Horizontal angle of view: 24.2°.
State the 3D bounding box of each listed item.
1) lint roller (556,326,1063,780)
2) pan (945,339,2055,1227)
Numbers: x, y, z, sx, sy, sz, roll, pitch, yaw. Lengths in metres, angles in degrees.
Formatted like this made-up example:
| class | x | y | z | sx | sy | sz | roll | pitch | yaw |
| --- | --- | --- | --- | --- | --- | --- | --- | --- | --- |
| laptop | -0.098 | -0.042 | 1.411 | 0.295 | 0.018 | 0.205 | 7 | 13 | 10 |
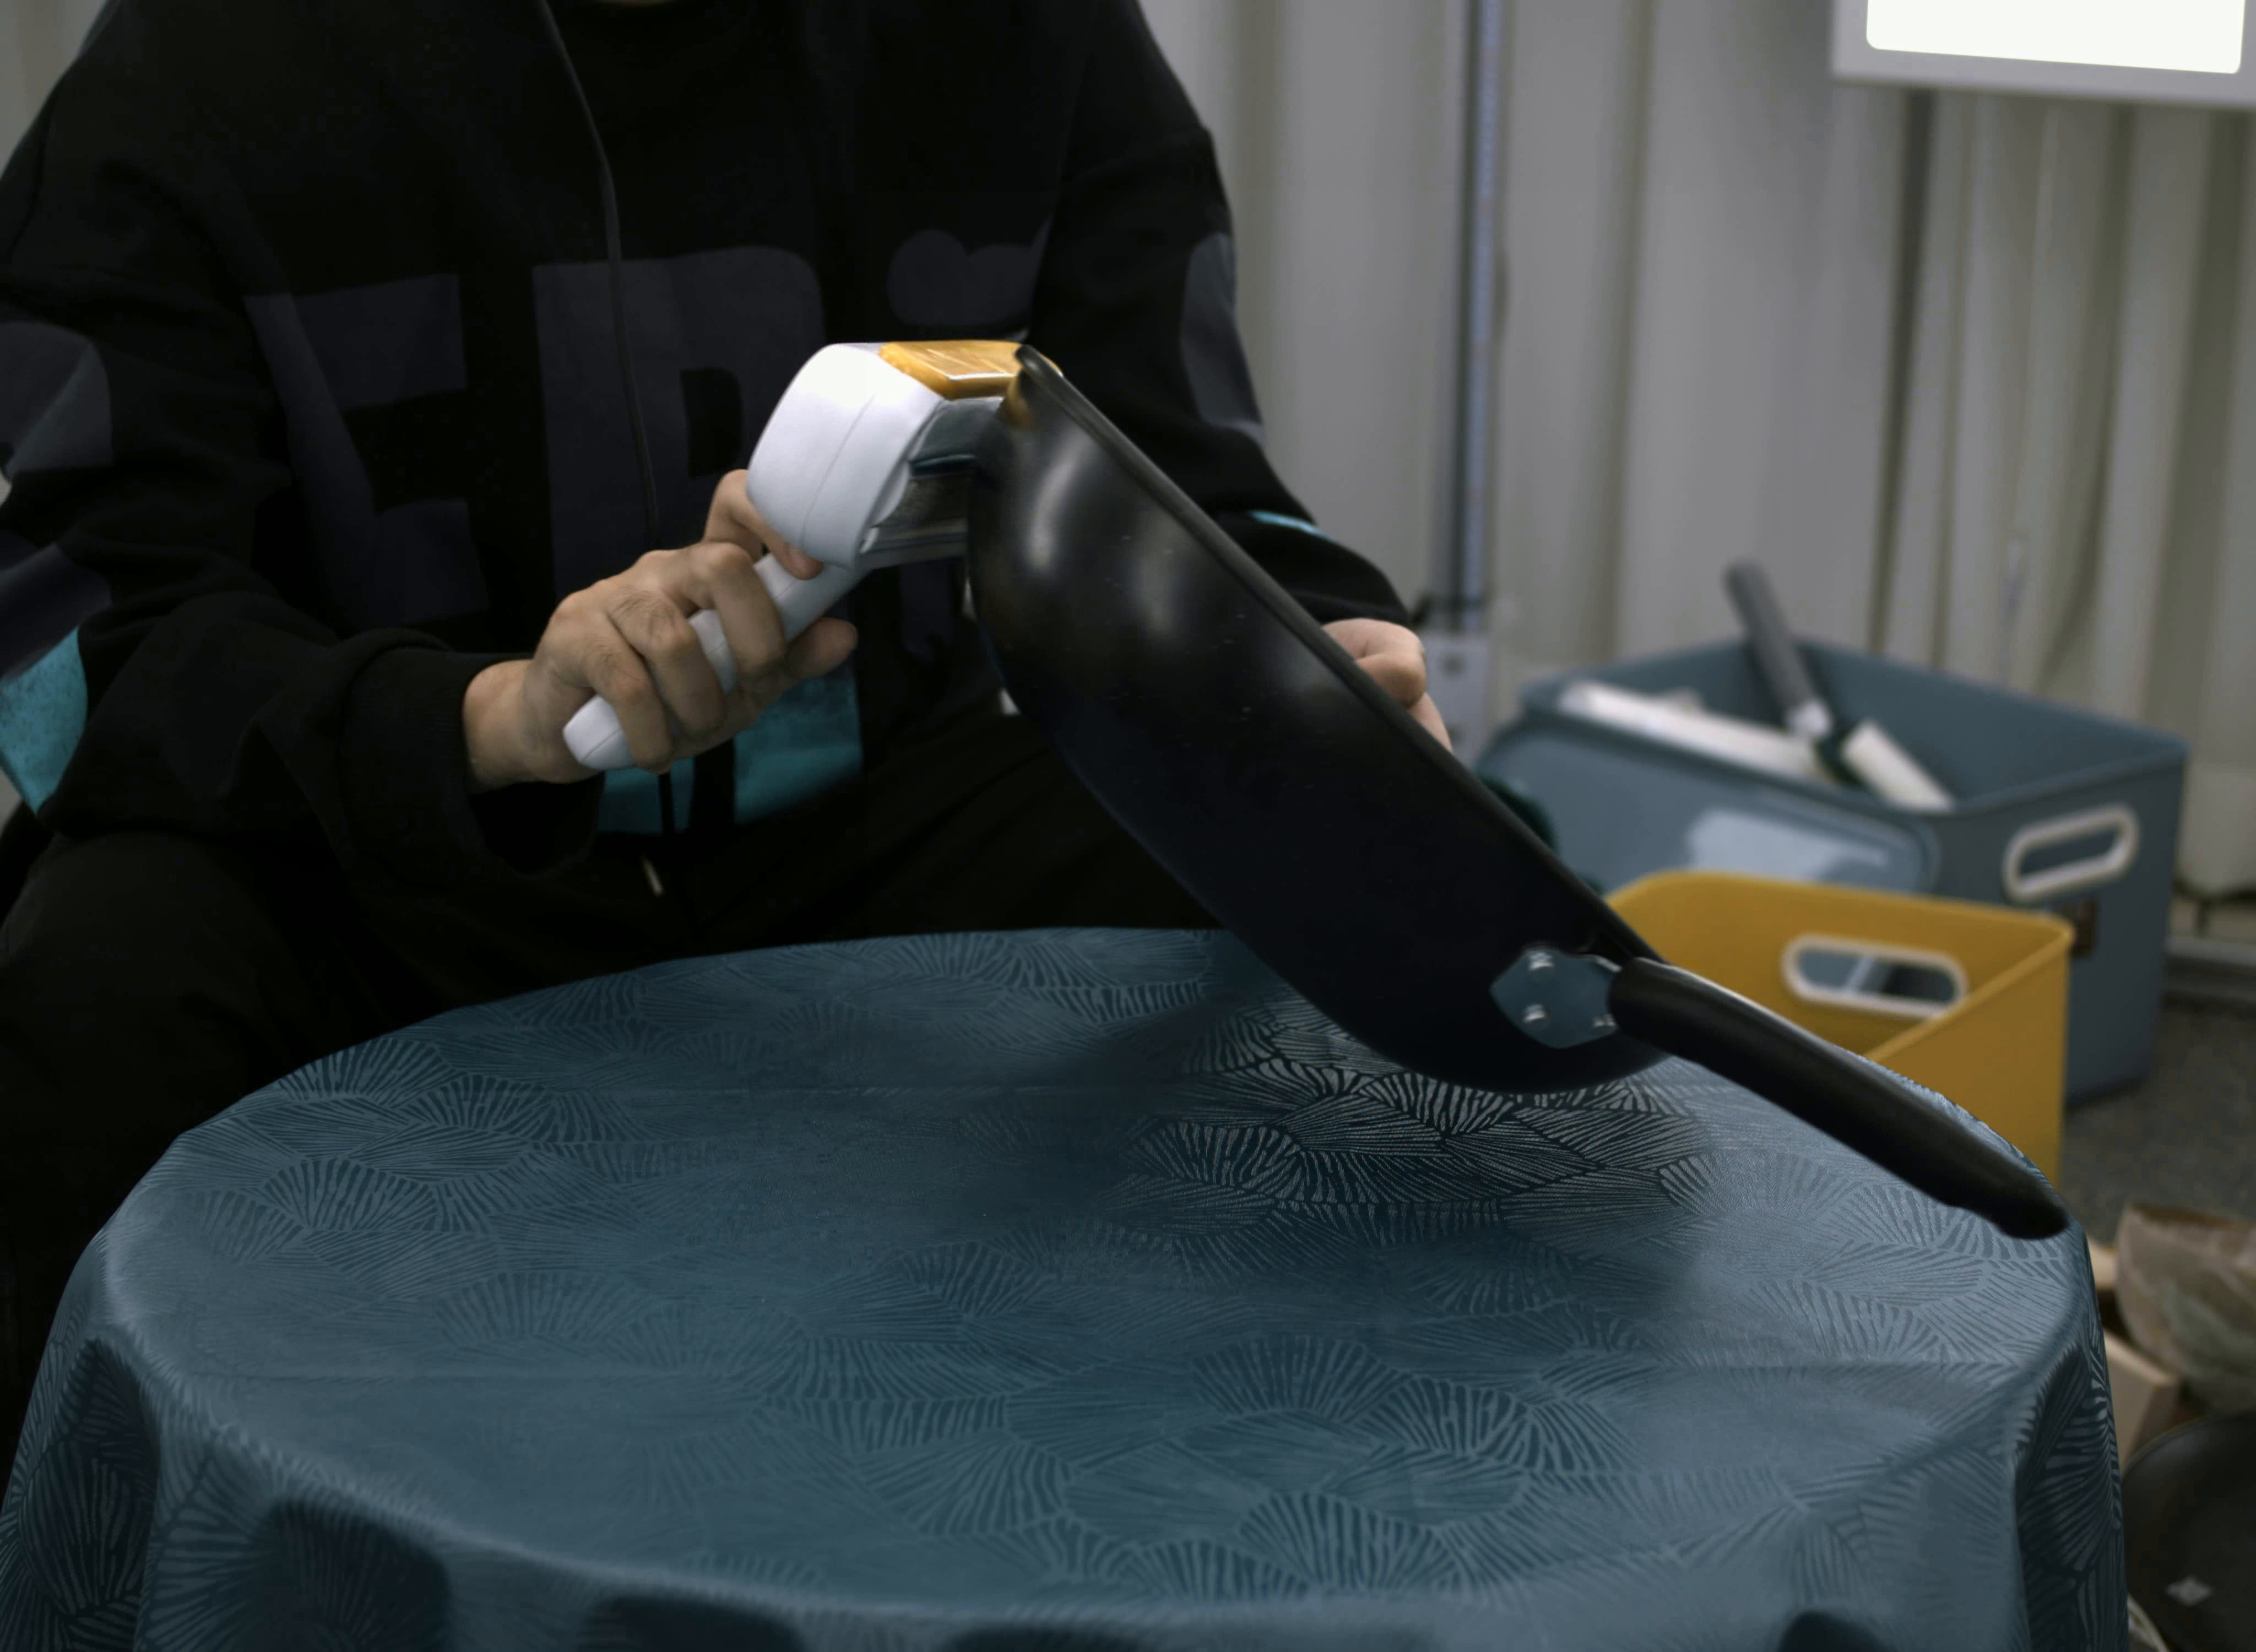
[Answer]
| class | x | y | z | sx | sy | sz | roll | pitch | yaw |
| --- | --- | --- | --- | --- | --- | --- | --- | --- | --- |
| lint roller | -0.109 | -0.081 | 1.708 | 0.074 | 0.193 | 0.193 | 38 | 10 | 4 |
| pan | 0.095 | 0.018 | 1.590 | 0.314 | 0.111 | 0.470 | 39 | 5 | -46 |
